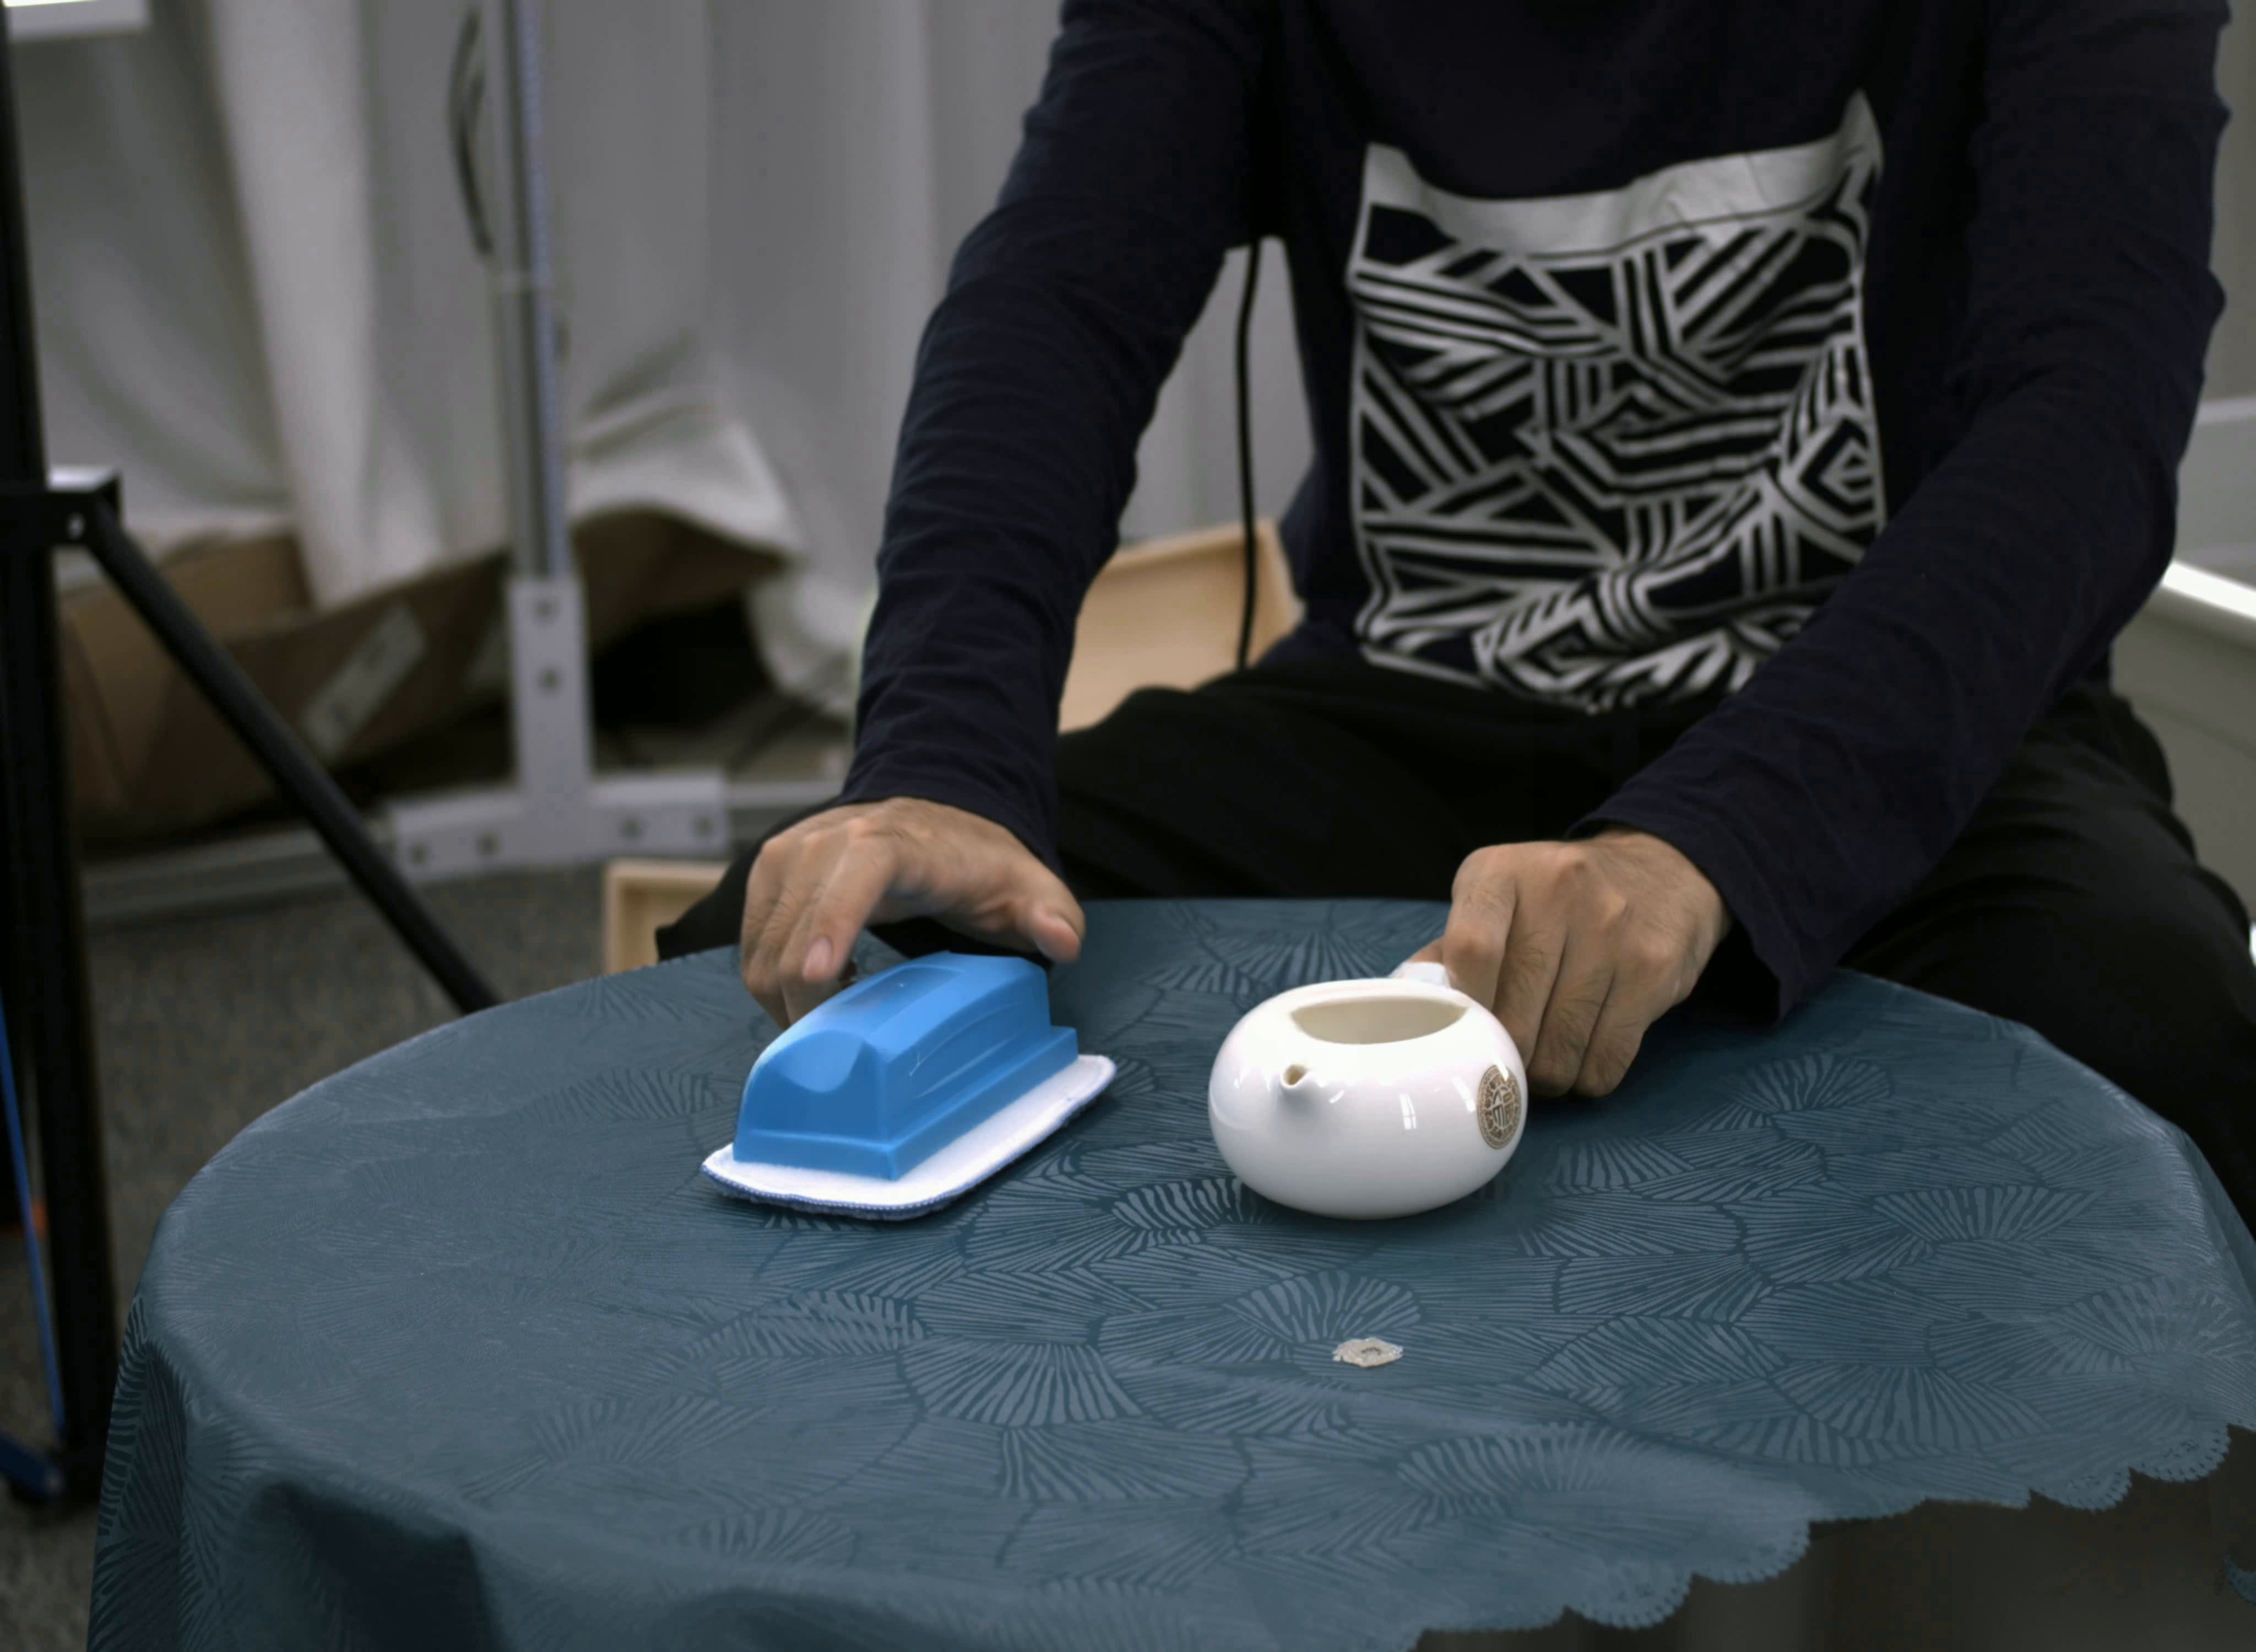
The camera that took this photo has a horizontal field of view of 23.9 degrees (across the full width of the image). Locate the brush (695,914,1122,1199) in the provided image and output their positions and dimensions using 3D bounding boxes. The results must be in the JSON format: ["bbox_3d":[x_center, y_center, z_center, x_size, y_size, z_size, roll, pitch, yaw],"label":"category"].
[{"bbox_3d":[-0.065,0.066,1.609,0.085,0.056,0.141,9,21,28],"label":"brush"}]

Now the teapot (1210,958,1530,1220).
[{"bbox_3d":[0.075,0.077,1.555,0.095,0.056,0.126,0,16,23],"label":"teapot"}]
